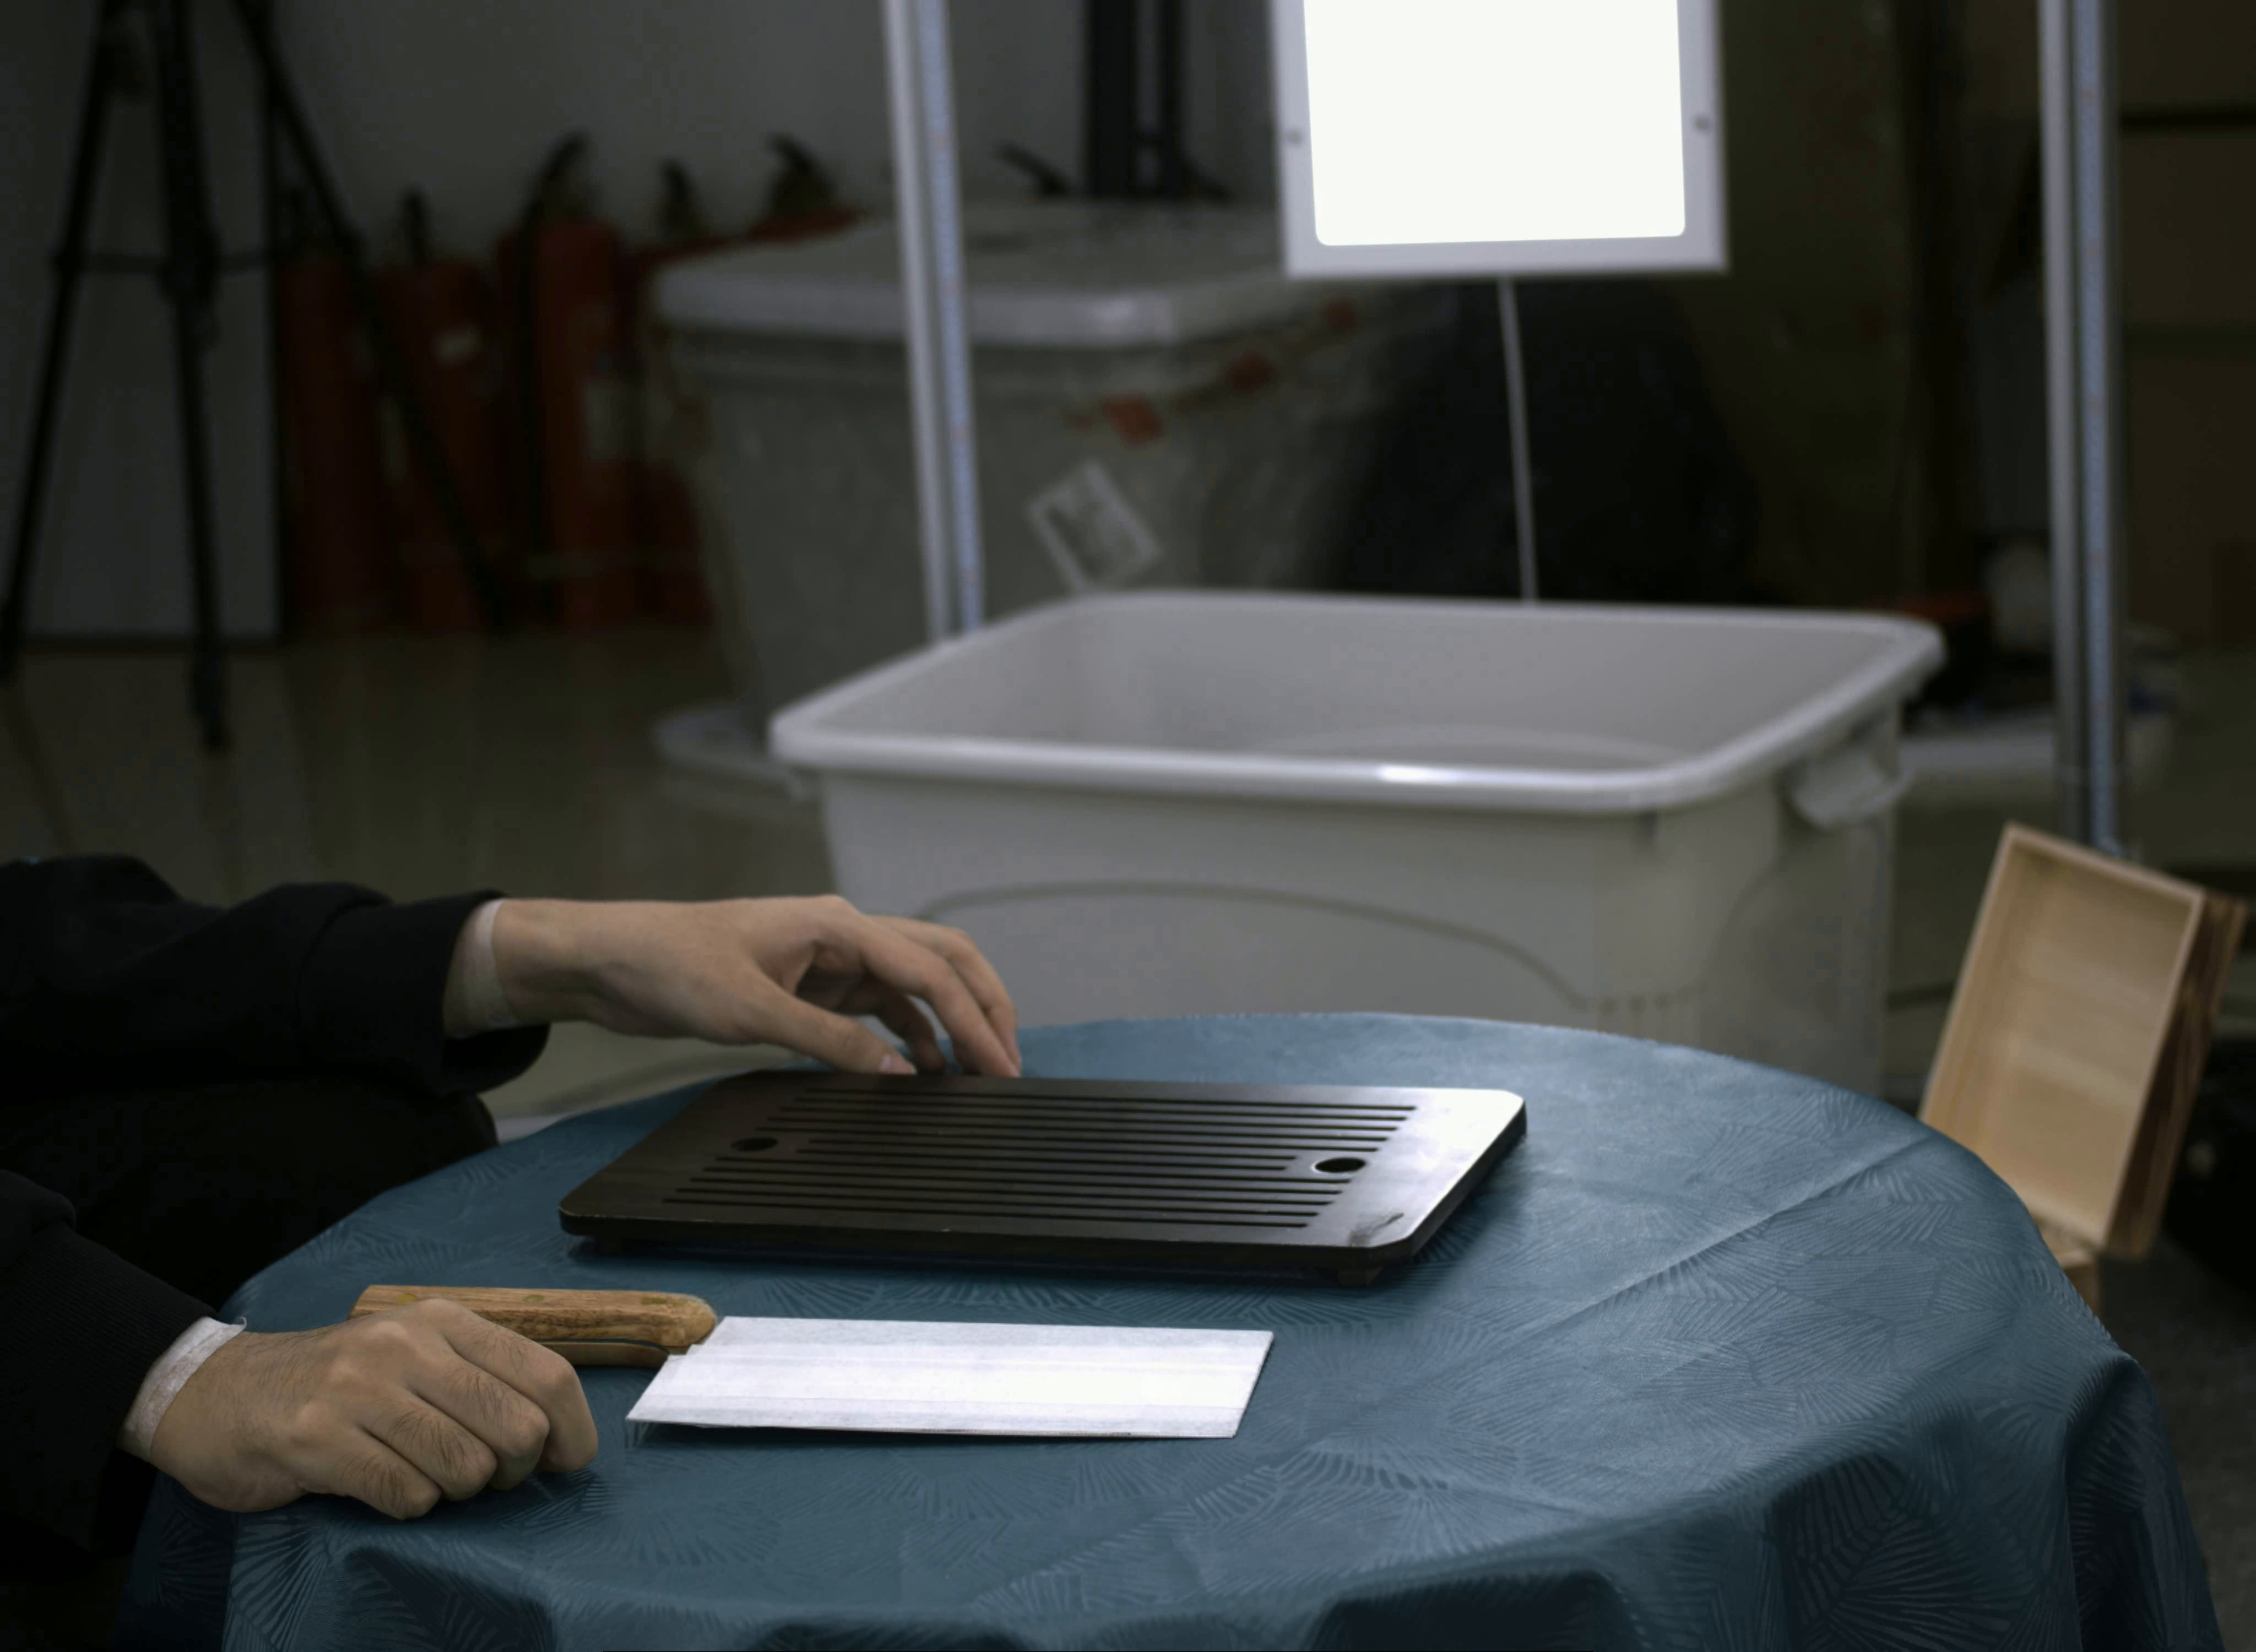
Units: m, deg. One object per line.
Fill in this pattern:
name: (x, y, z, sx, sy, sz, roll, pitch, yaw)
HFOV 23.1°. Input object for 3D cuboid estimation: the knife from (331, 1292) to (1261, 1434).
knife: (-0.110, 0.170, 1.728, 0.308, 0.021, 0.092, 0, 16, 12)

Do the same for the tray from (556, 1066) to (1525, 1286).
tray: (-0.028, 0.119, 1.899, 0.310, 0.019, 0.167, 1, 15, 22)
